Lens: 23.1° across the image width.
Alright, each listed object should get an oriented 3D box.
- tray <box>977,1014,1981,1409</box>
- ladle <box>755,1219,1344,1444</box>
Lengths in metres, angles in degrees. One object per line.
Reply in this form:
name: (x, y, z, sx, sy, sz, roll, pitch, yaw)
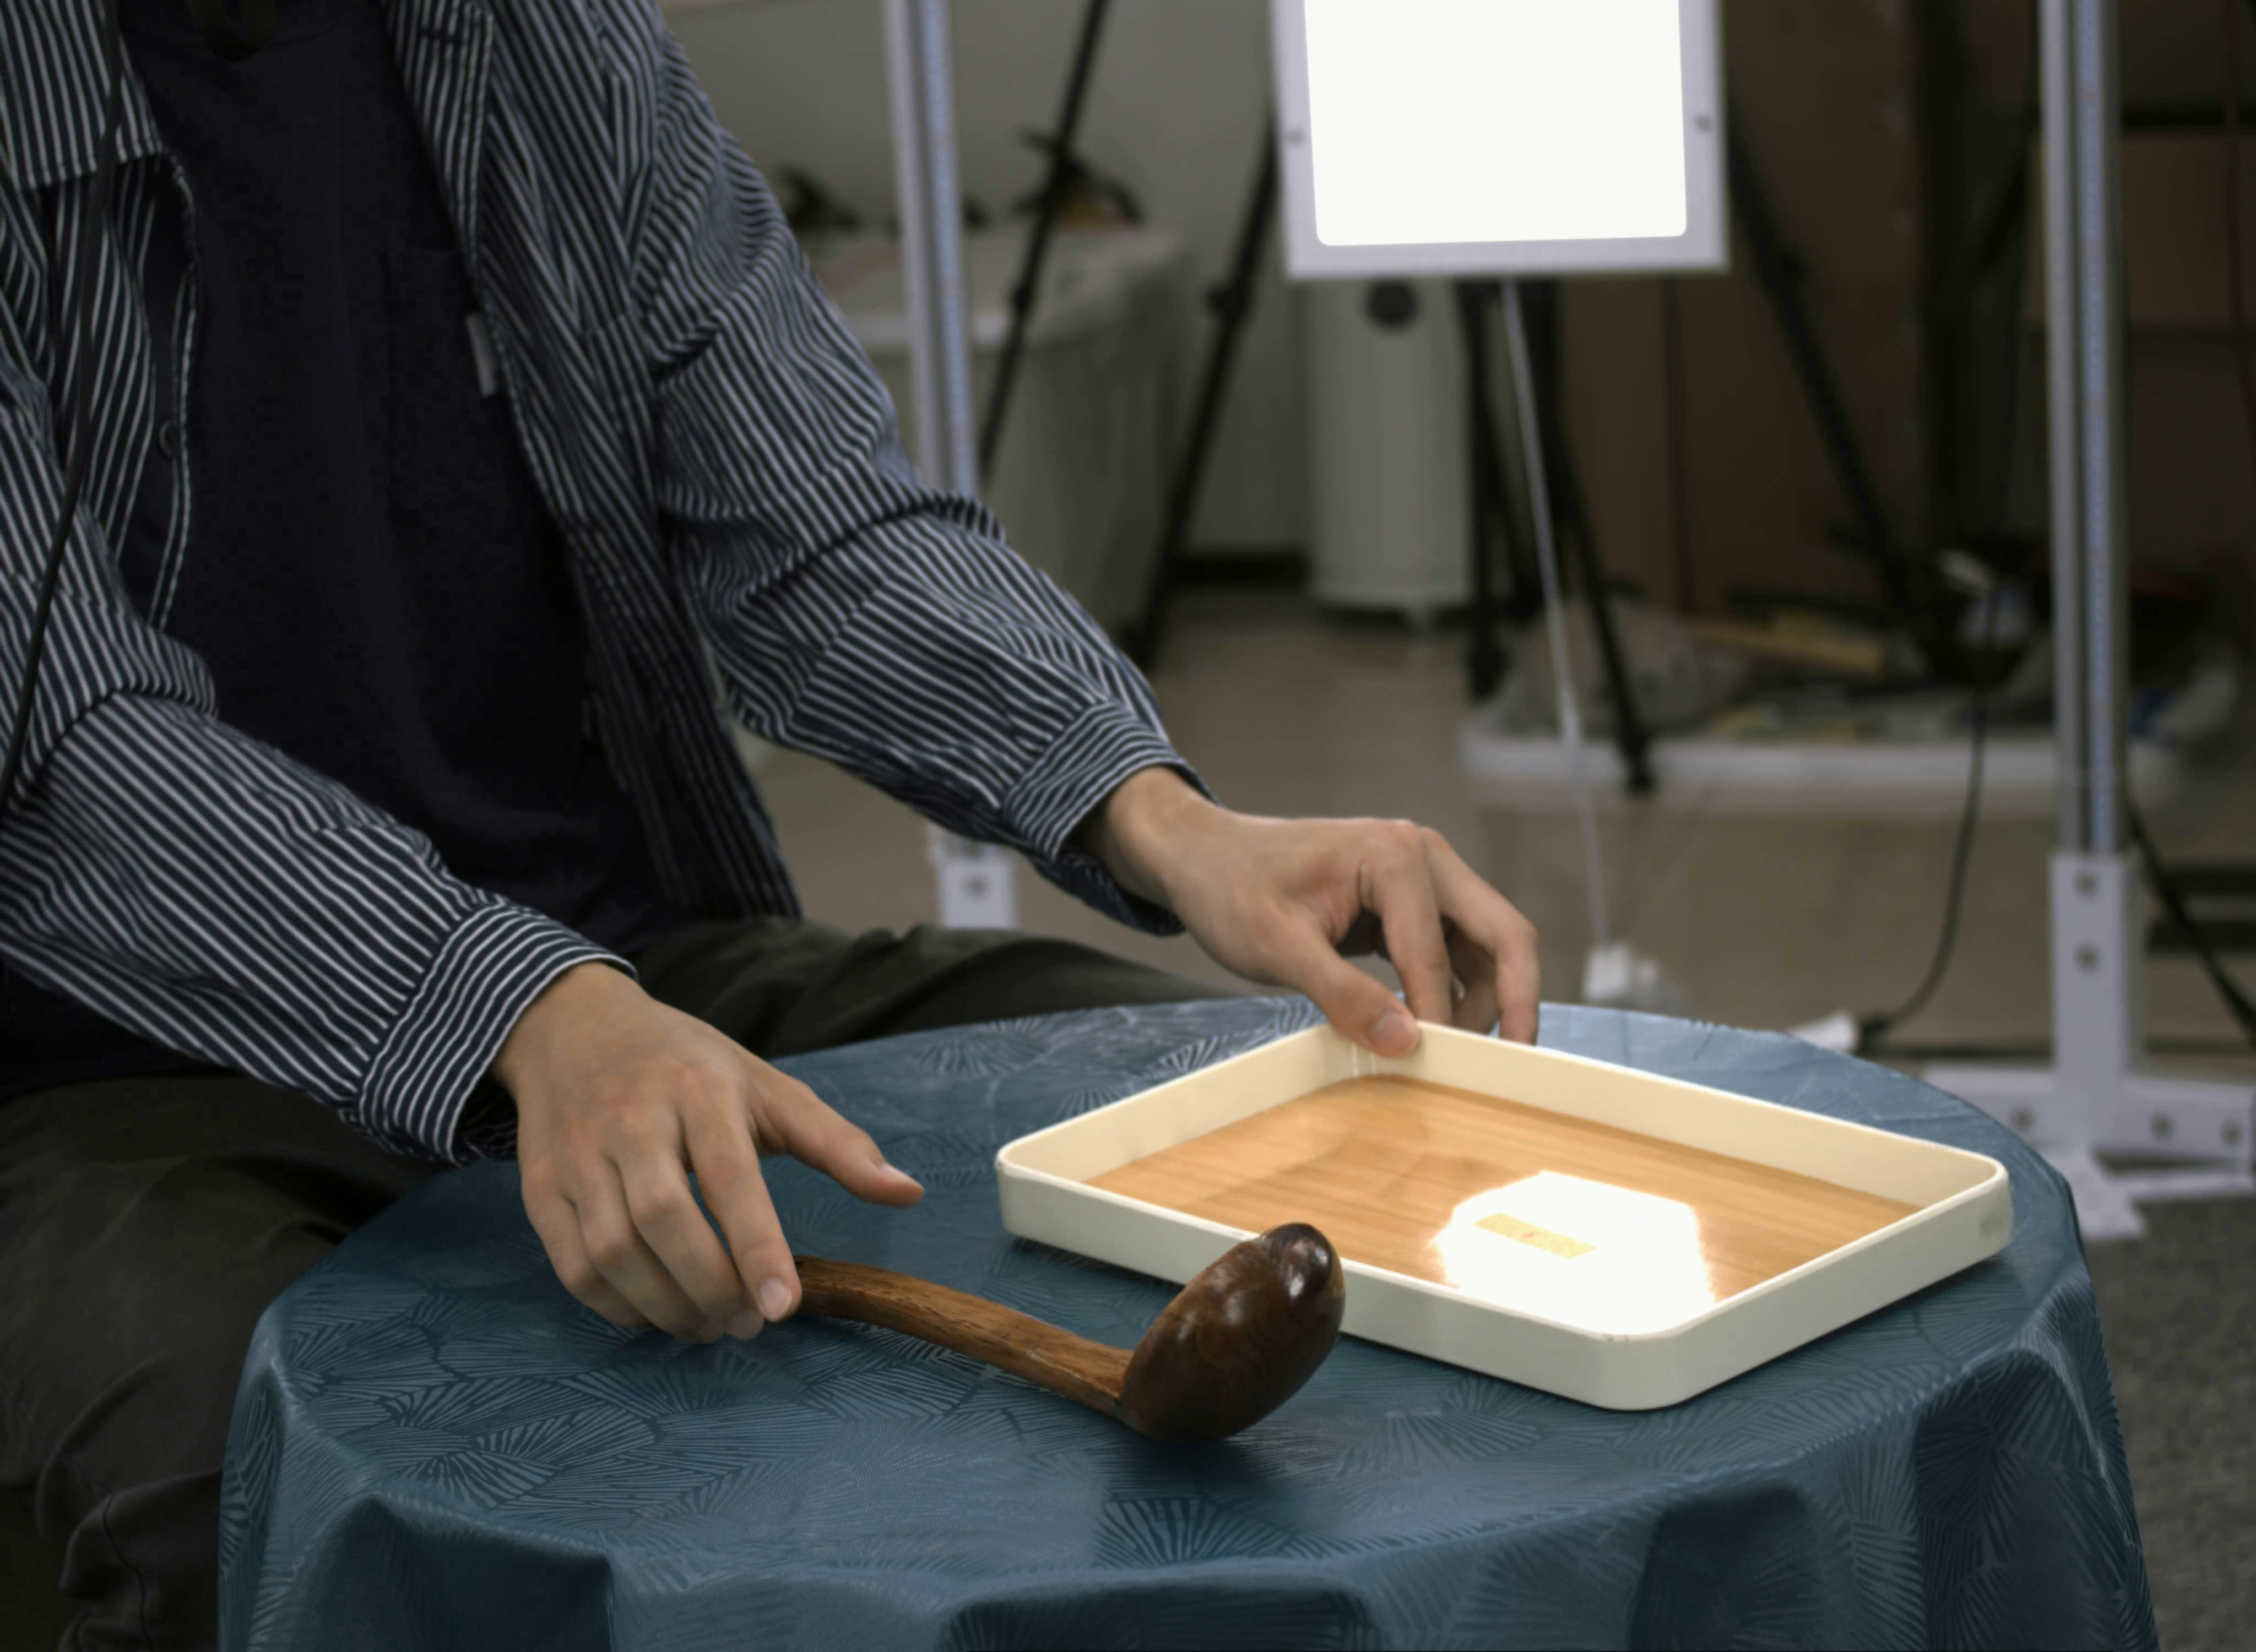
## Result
tray: (0.113, 0.121, 1.801, 0.187, 0.027, 0.307, -19, 20, -38)
ladle: (-0.038, 0.136, 1.705, 0.080, 0.077, 0.280, -20, 20, -35)
